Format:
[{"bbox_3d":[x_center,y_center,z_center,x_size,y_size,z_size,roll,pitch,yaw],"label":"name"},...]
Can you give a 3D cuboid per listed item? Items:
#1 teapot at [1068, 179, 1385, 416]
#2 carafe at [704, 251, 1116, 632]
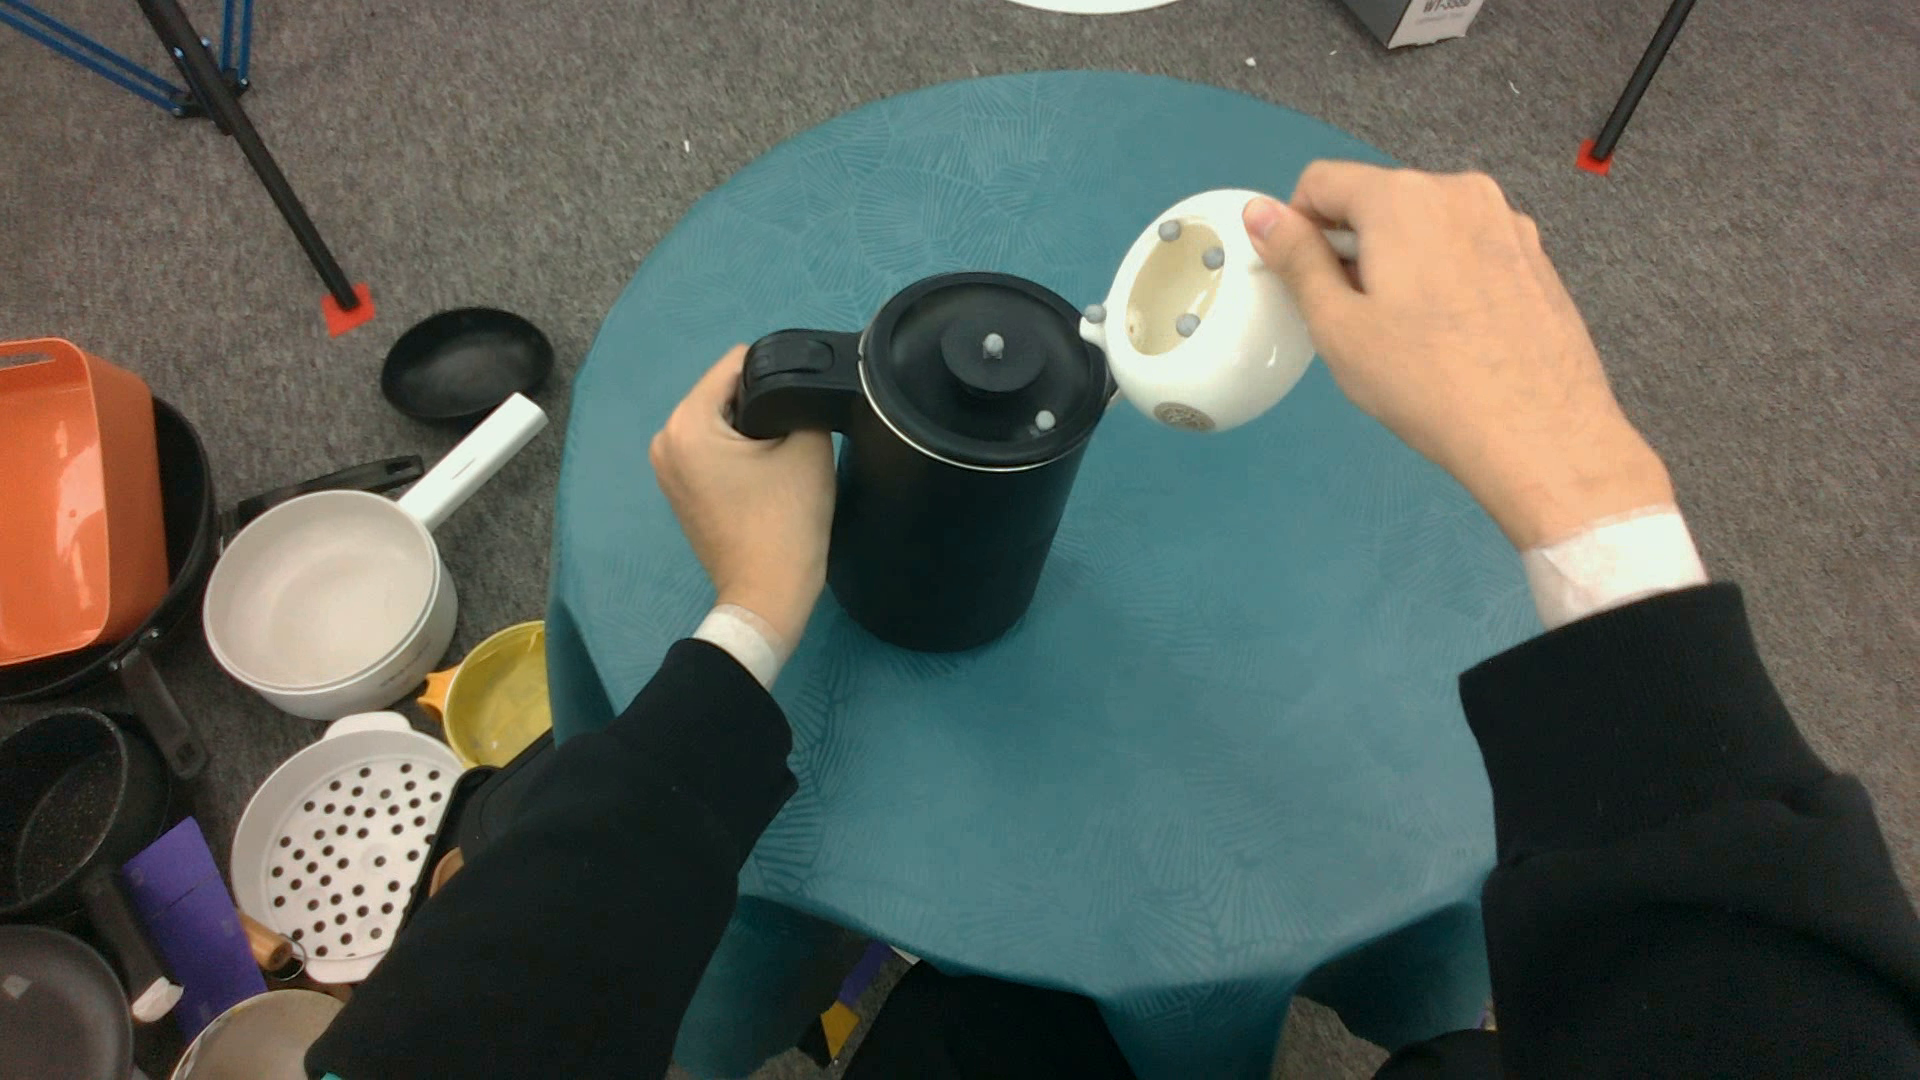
[{"bbox_3d":[0.101,-0.096,0.526,0.056,0.127,0.094,25,59,-33],"label":"teapot"},{"bbox_3d":[-0.030,-0.045,0.641,0.172,0.172,0.115,3,59,-12],"label":"carafe"}]
